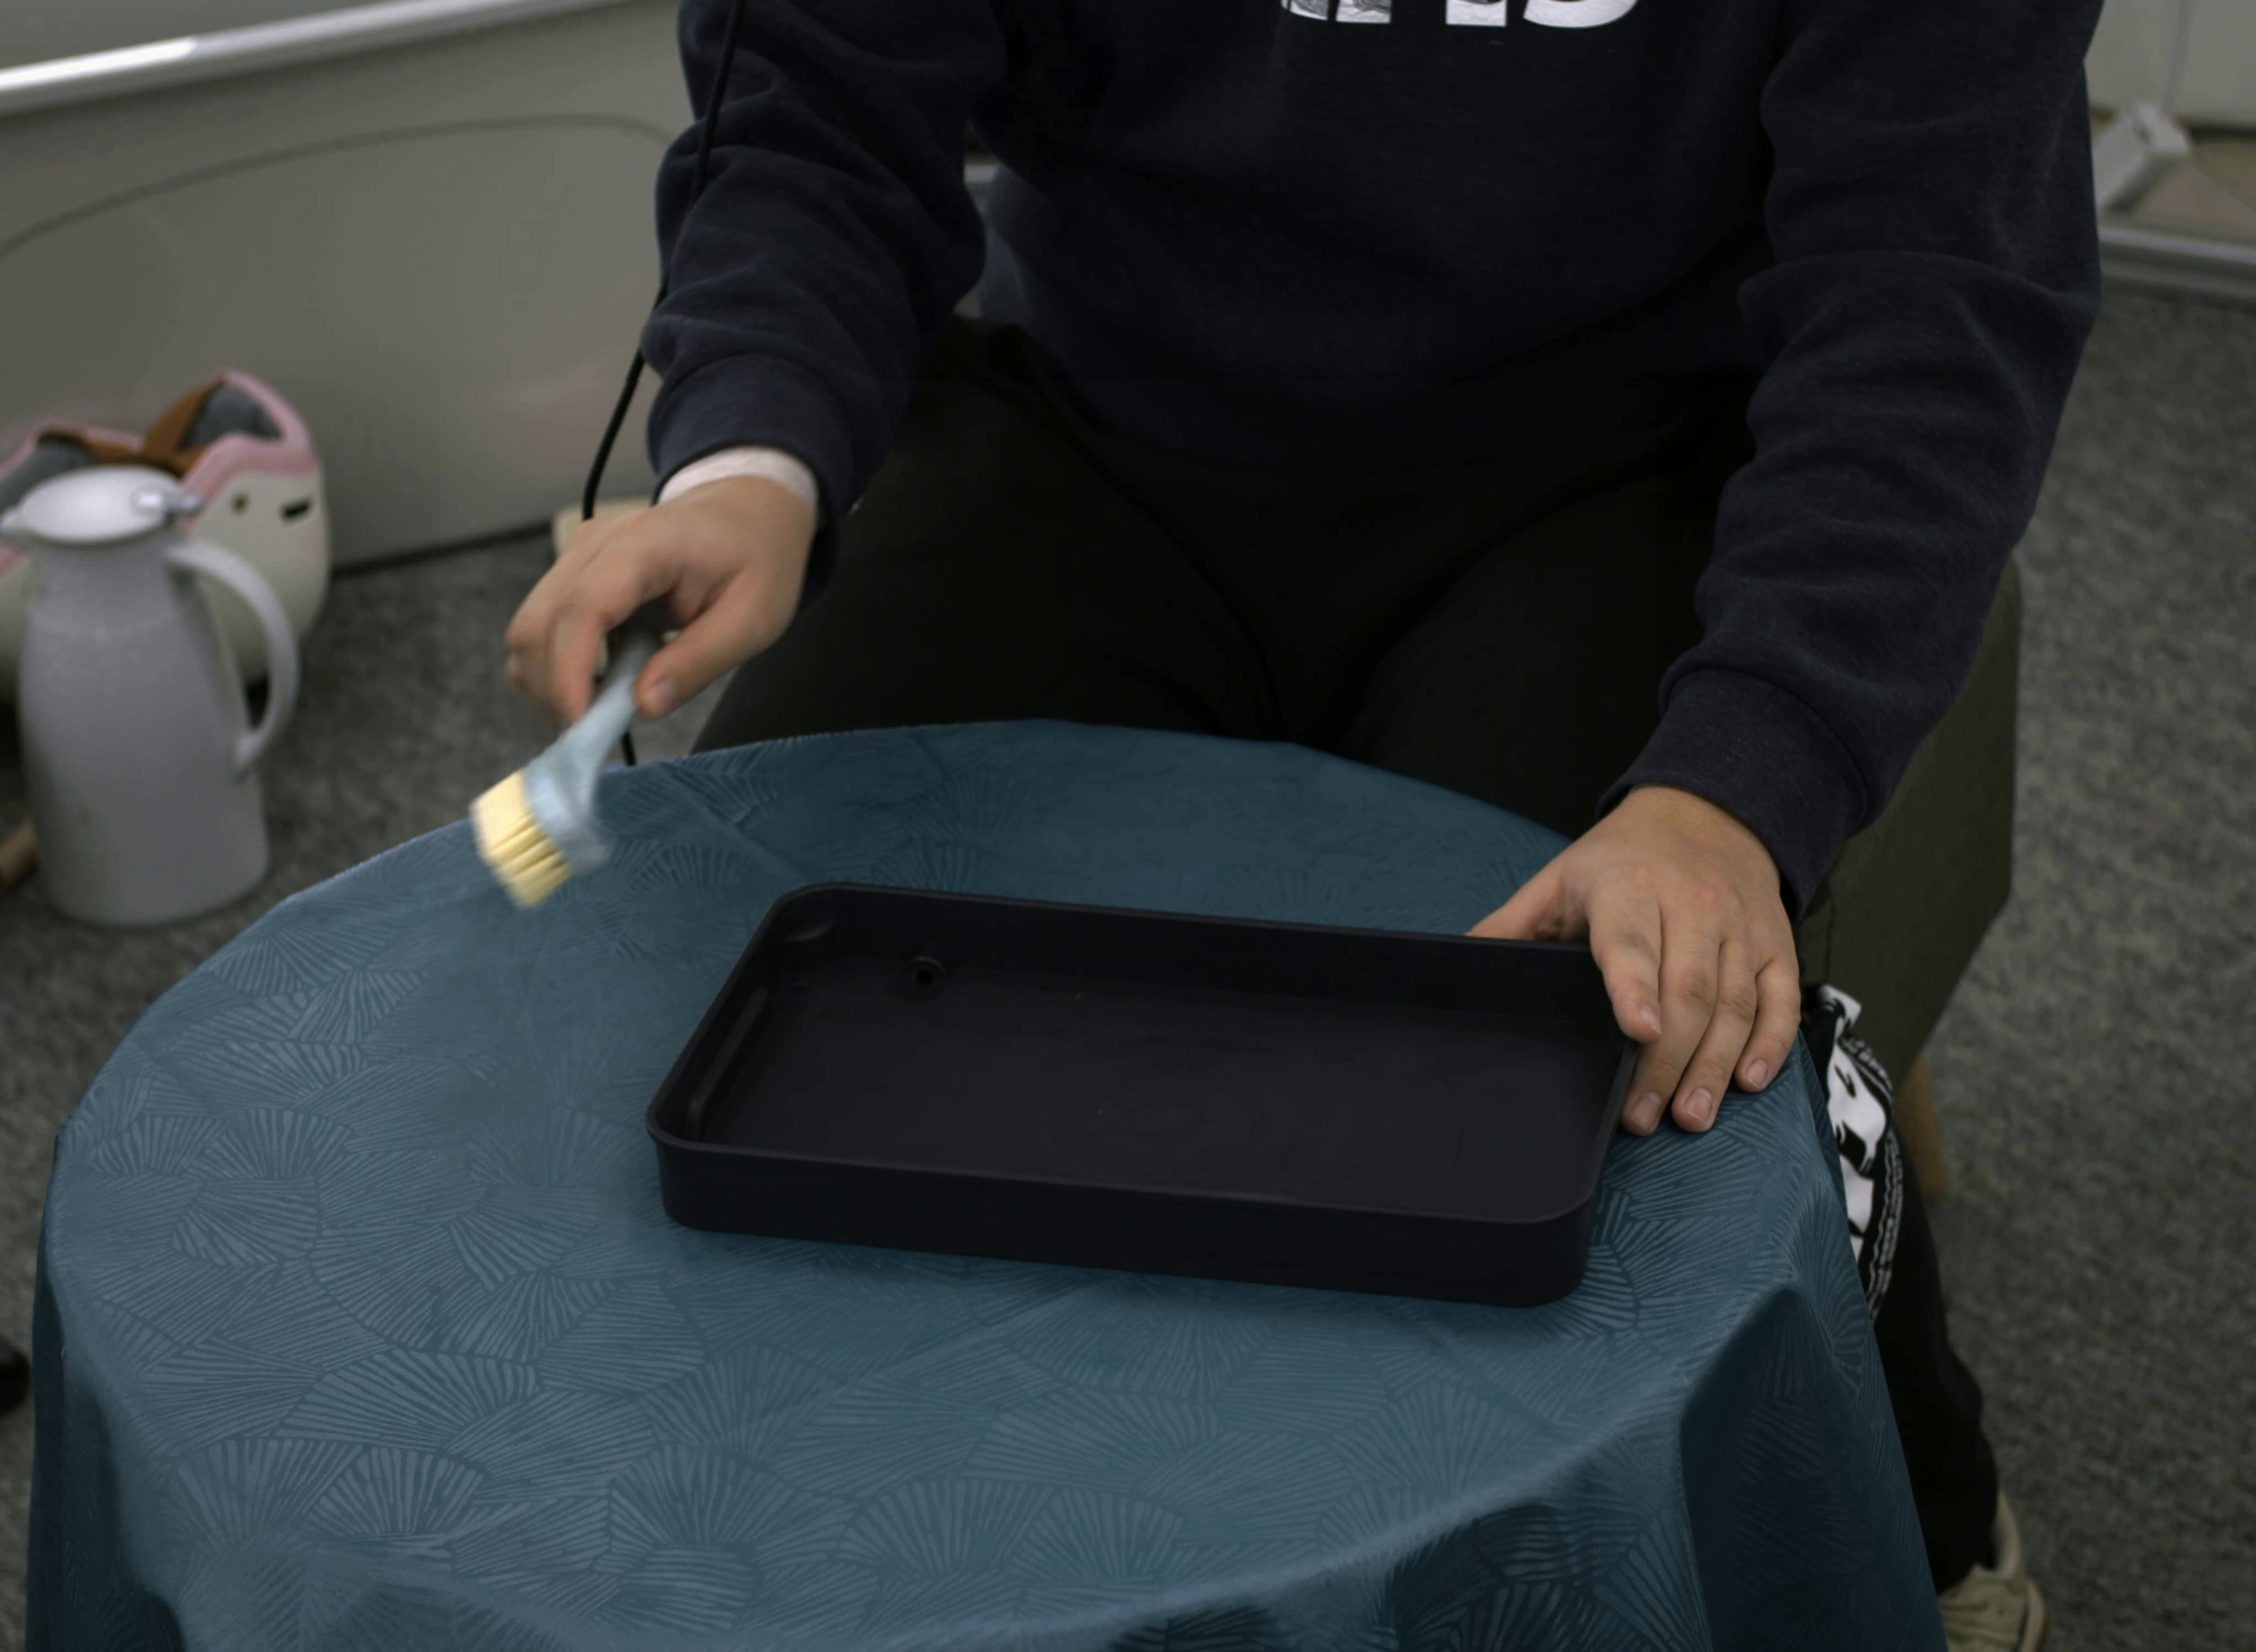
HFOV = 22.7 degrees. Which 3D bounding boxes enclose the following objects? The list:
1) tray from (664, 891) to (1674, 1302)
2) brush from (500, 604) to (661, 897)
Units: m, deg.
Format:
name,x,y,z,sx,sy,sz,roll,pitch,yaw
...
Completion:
name,x,y,z,sx,sy,sz,roll,pitch,yaw
tray,0.017,0.088,1.890,0.316,0.036,0.187,3,27,12
brush,-0.189,-0.030,1.964,0.049,0.037,0.231,-40,17,14
